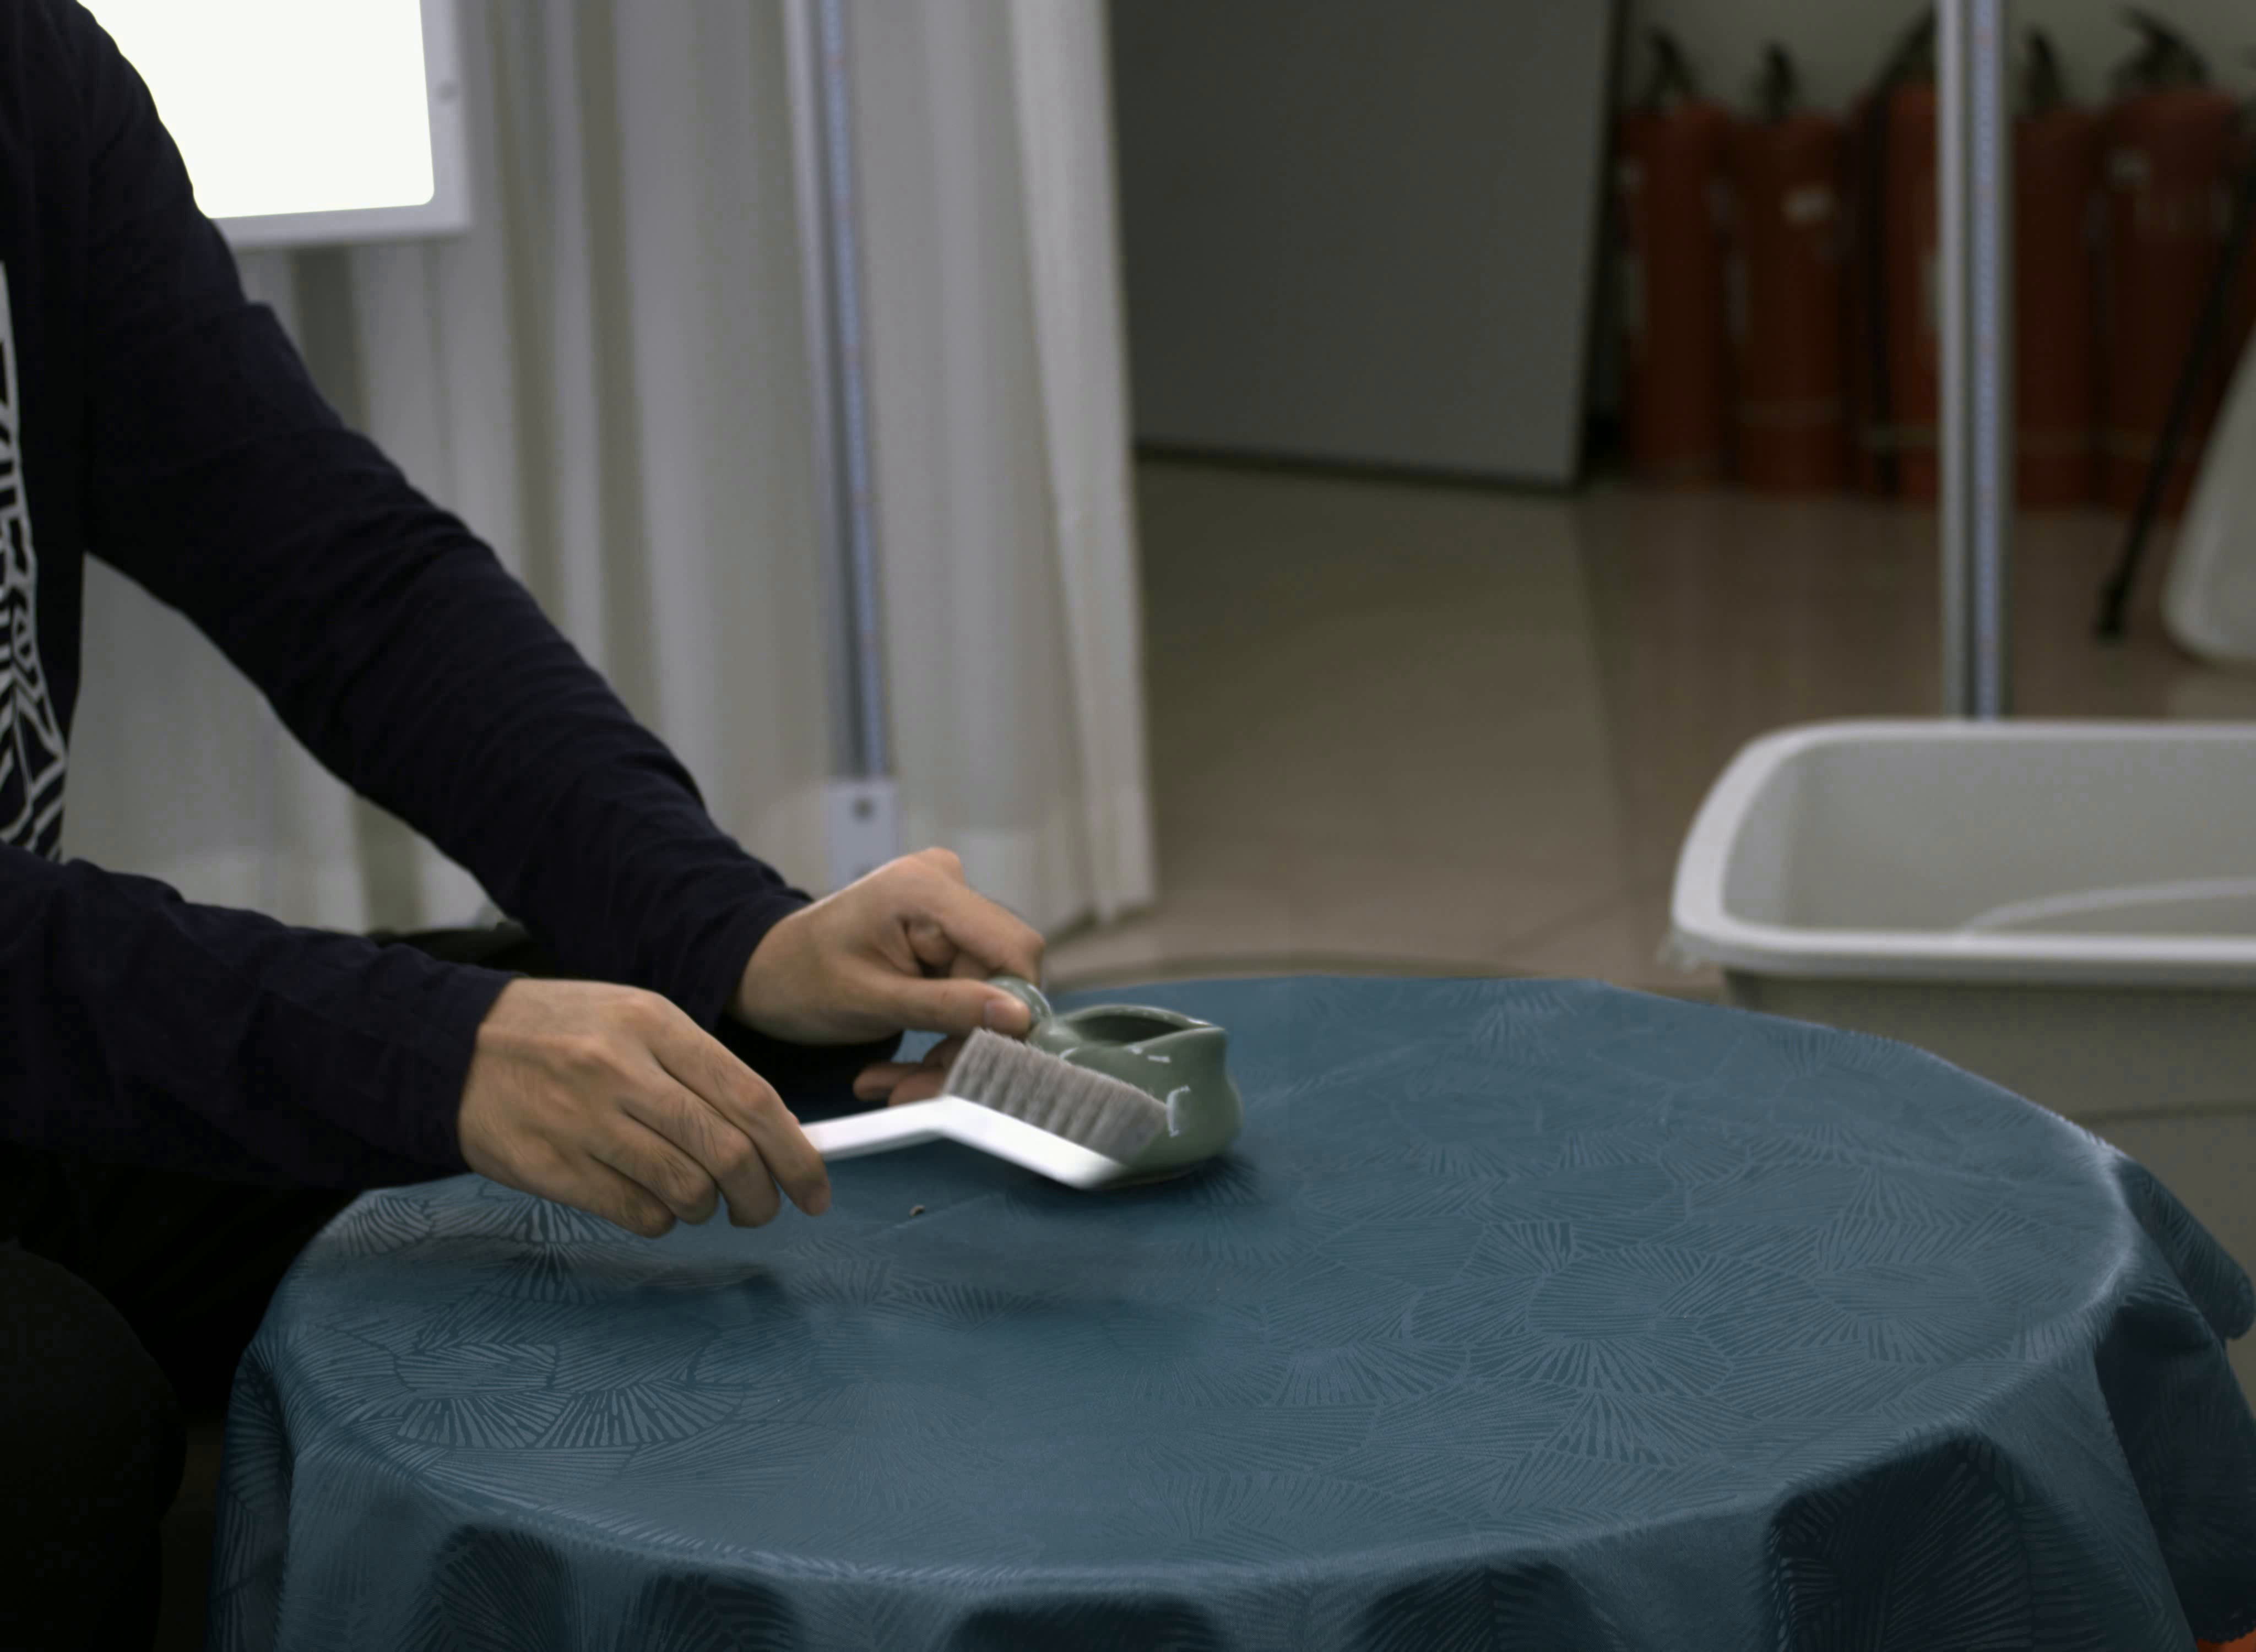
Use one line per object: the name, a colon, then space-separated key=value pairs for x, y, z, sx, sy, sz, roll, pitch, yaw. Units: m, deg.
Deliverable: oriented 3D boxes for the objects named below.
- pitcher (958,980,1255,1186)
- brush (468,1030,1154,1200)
pitcher: x=-0.008 y=0.085 z=1.795 sx=0.113 sy=0.057 sz=0.083 roll=8 pitch=12 yaw=31
brush: x=-0.104 y=0.090 z=1.715 sx=0.244 sy=0.051 sz=0.034 roll=0 pitch=-10 yaw=29
